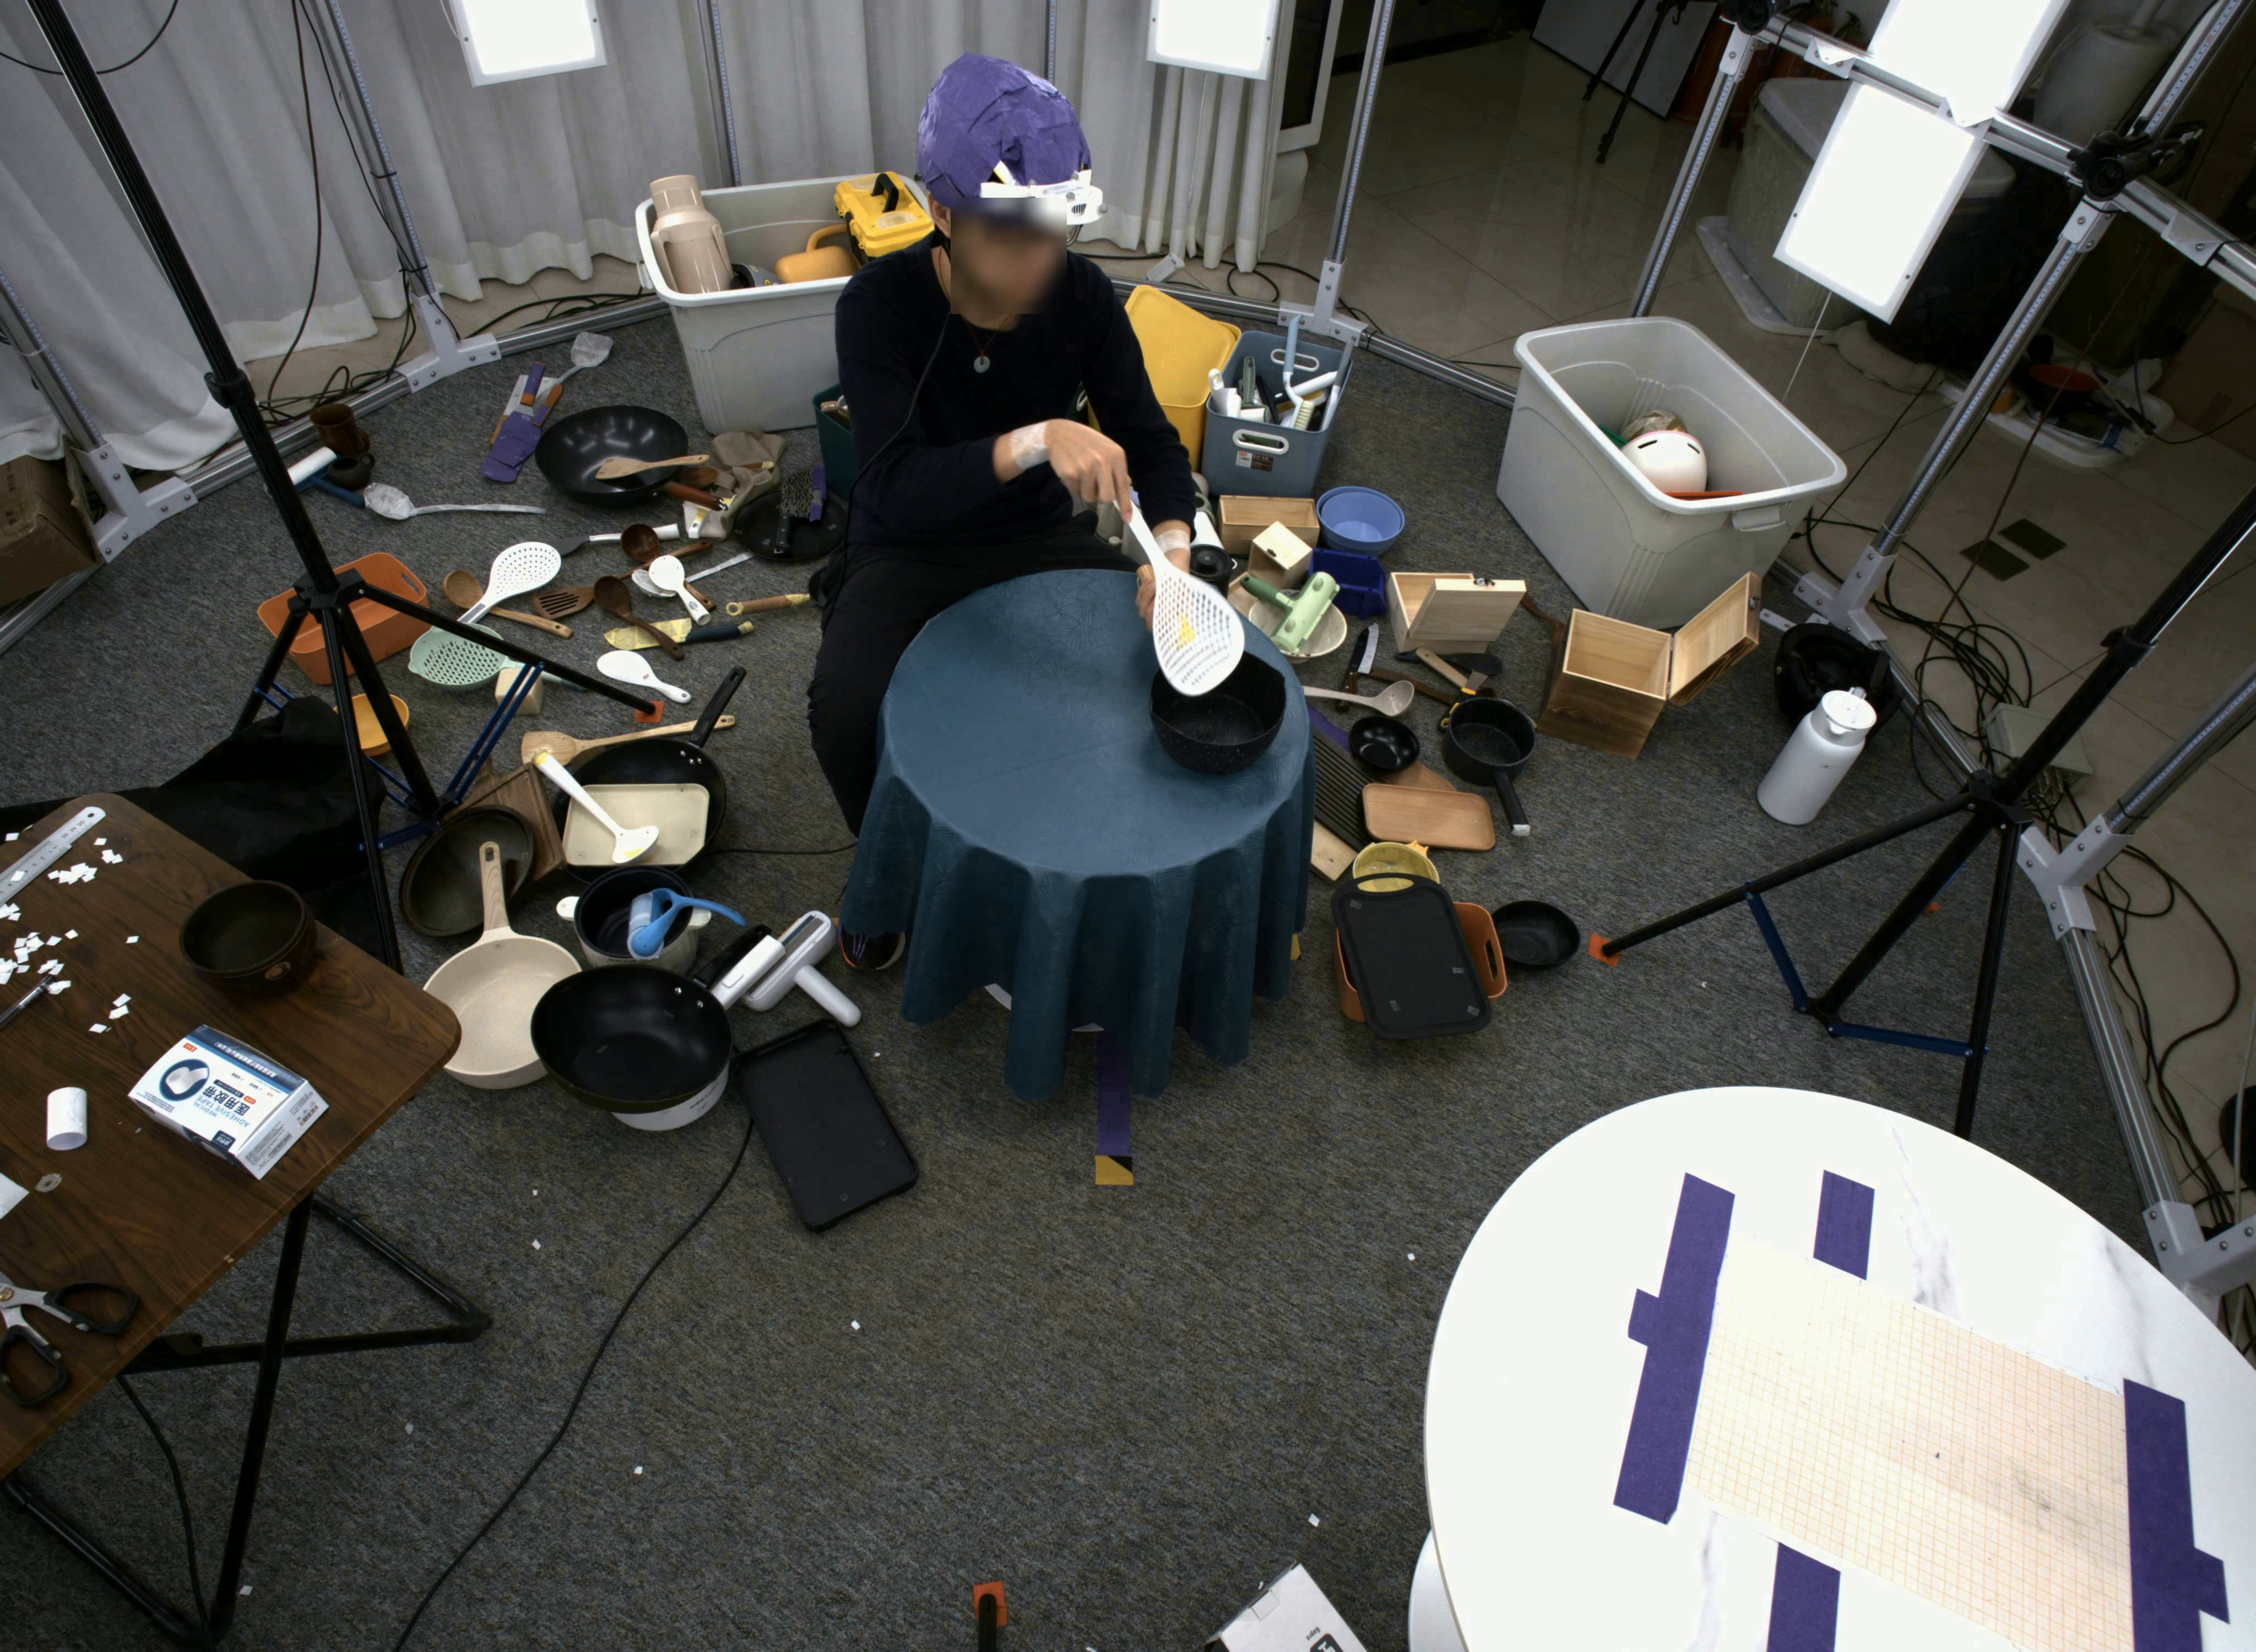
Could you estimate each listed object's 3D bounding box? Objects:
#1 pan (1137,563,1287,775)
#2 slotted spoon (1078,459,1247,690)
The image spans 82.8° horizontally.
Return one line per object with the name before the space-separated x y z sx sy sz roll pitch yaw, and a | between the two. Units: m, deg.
pan | 0.086 -0.219 1.790 0.208 0.105 0.350 -19 56 -17
slotted spoon | 0.040 -0.334 1.687 0.137 0.341 0.051 -42 32 -13
